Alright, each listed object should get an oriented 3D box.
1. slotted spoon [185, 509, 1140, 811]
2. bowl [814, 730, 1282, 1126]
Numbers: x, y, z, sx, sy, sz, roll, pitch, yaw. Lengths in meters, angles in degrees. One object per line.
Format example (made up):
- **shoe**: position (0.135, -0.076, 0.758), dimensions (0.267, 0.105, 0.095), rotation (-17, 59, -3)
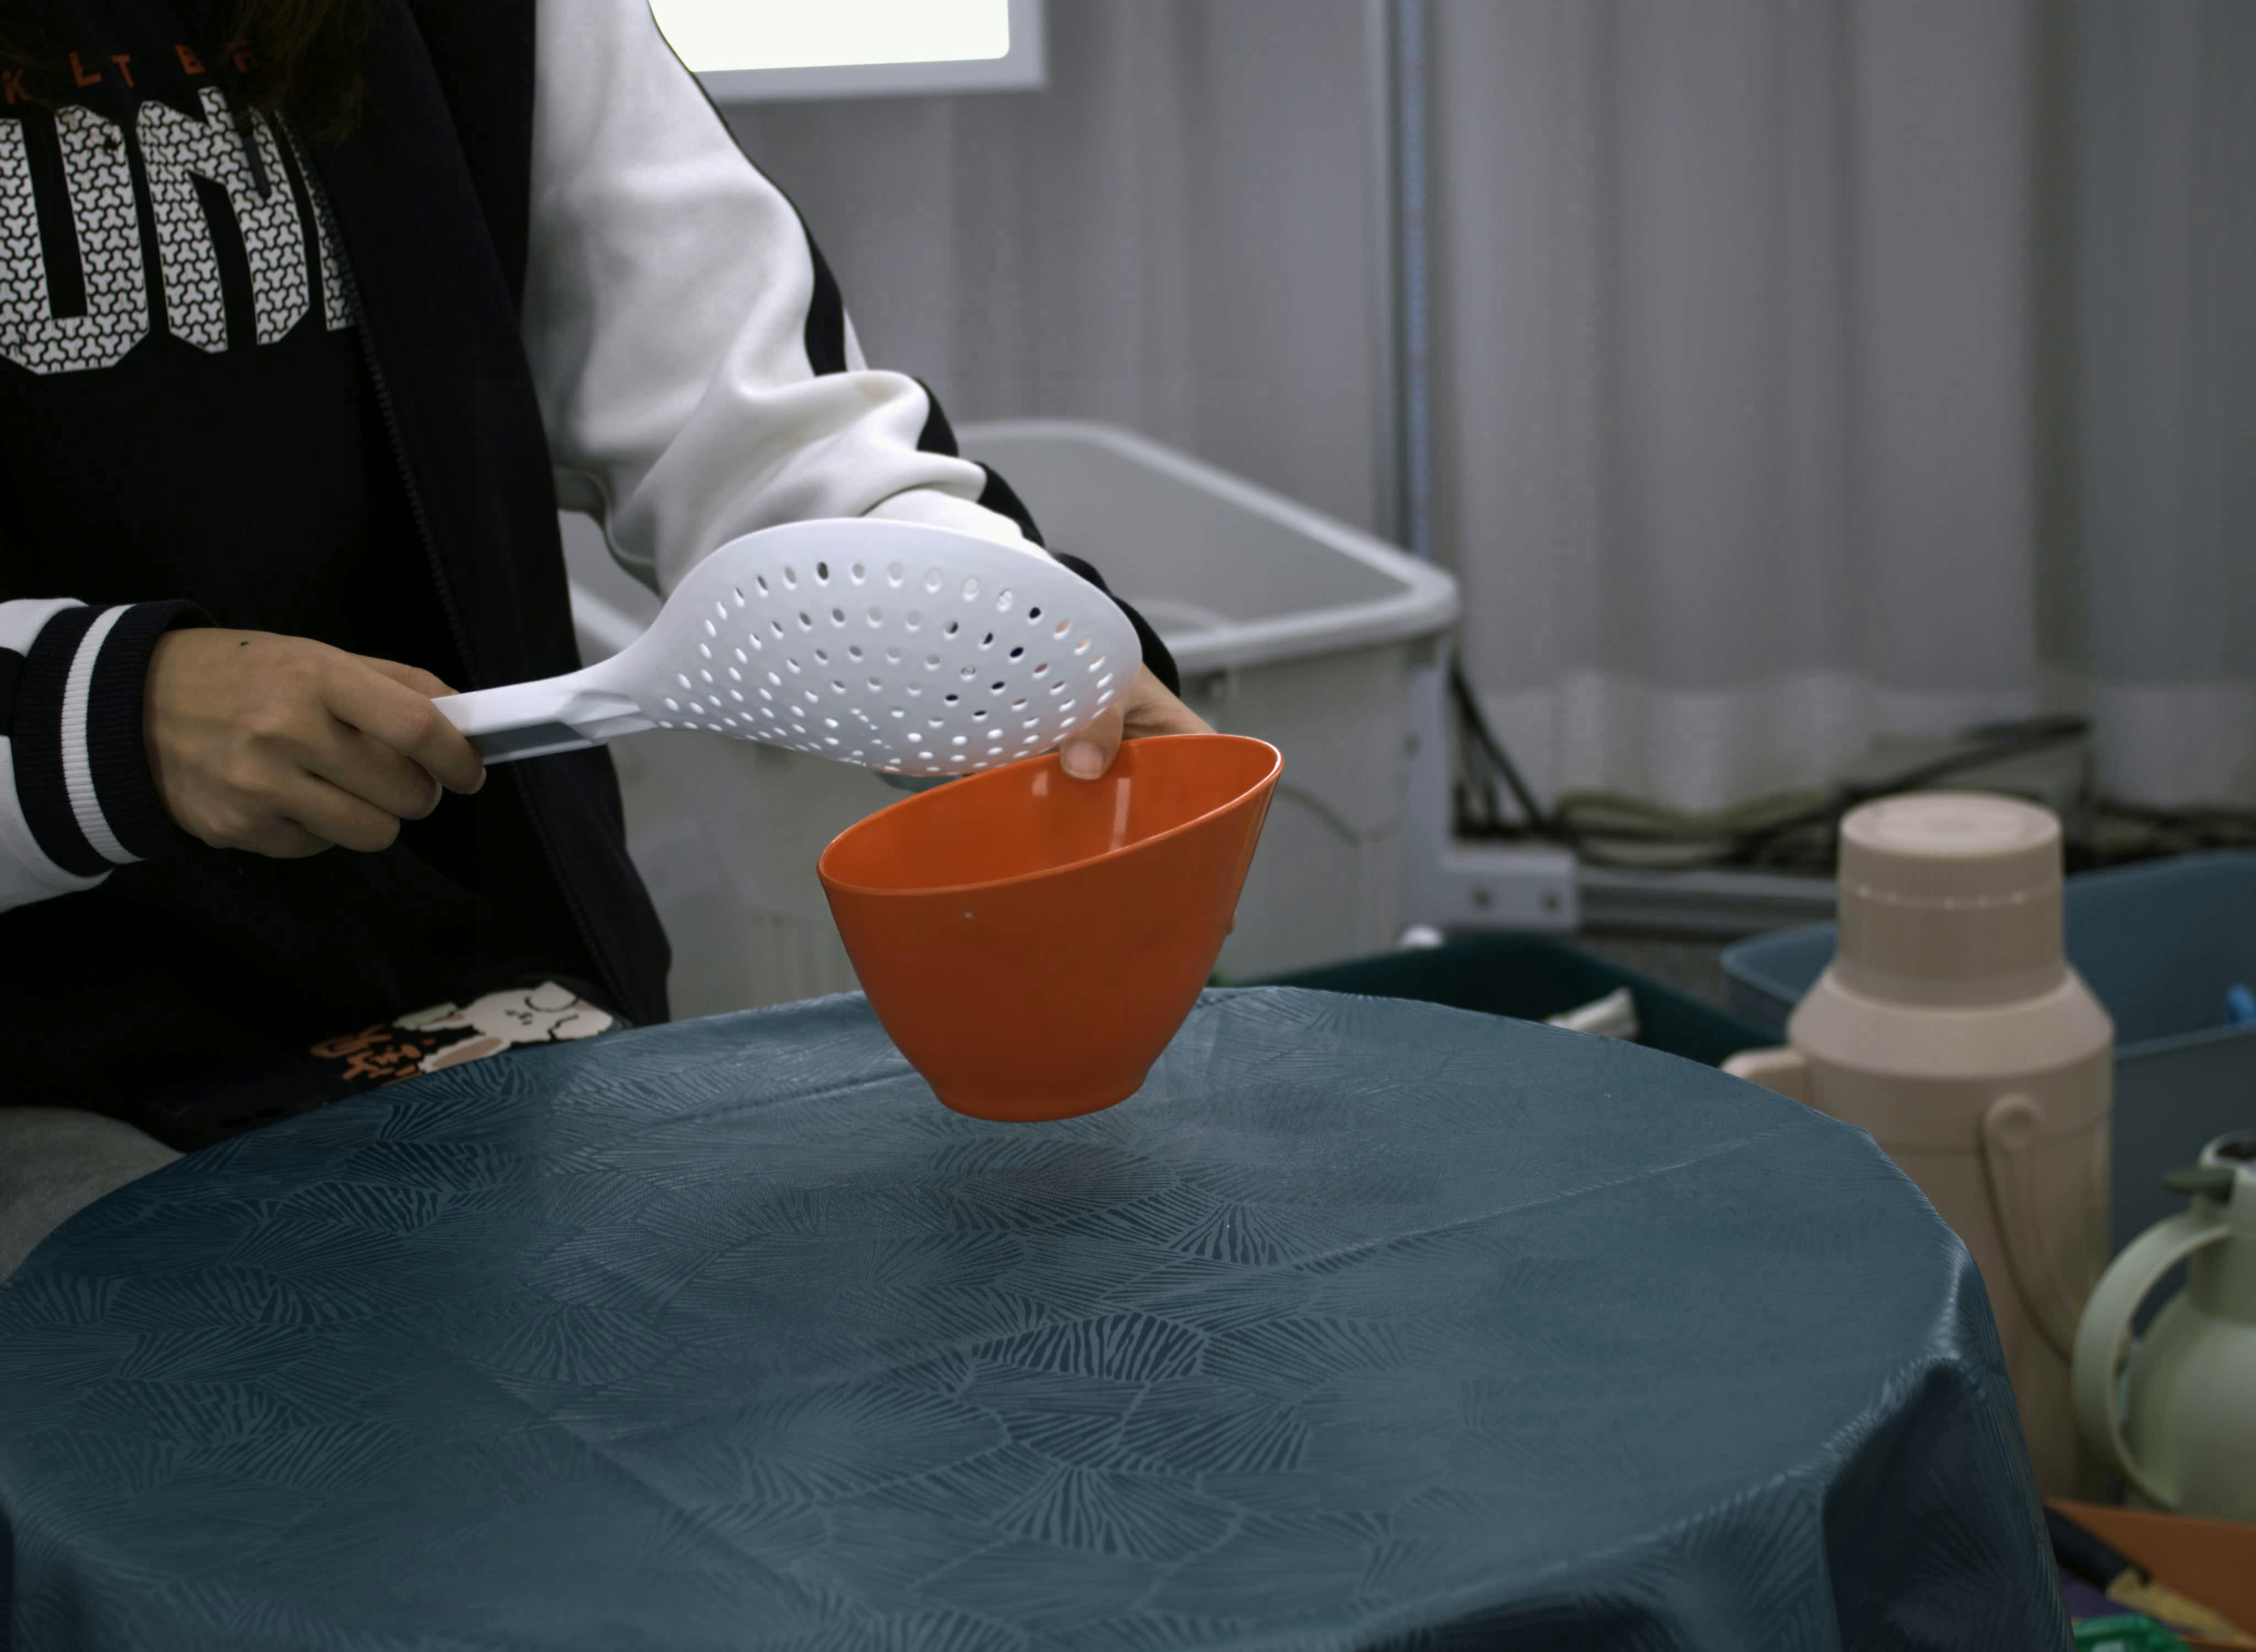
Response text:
- **slotted spoon**: position (-0.154, -0.039, 1.676), dimensions (0.350, 0.046, 0.134), rotation (-4, -29, 35)
- **bowl**: position (-0.022, 0.034, 1.698), dimensions (0.147, 0.104, 0.149), rotation (-5, 20, 2)
